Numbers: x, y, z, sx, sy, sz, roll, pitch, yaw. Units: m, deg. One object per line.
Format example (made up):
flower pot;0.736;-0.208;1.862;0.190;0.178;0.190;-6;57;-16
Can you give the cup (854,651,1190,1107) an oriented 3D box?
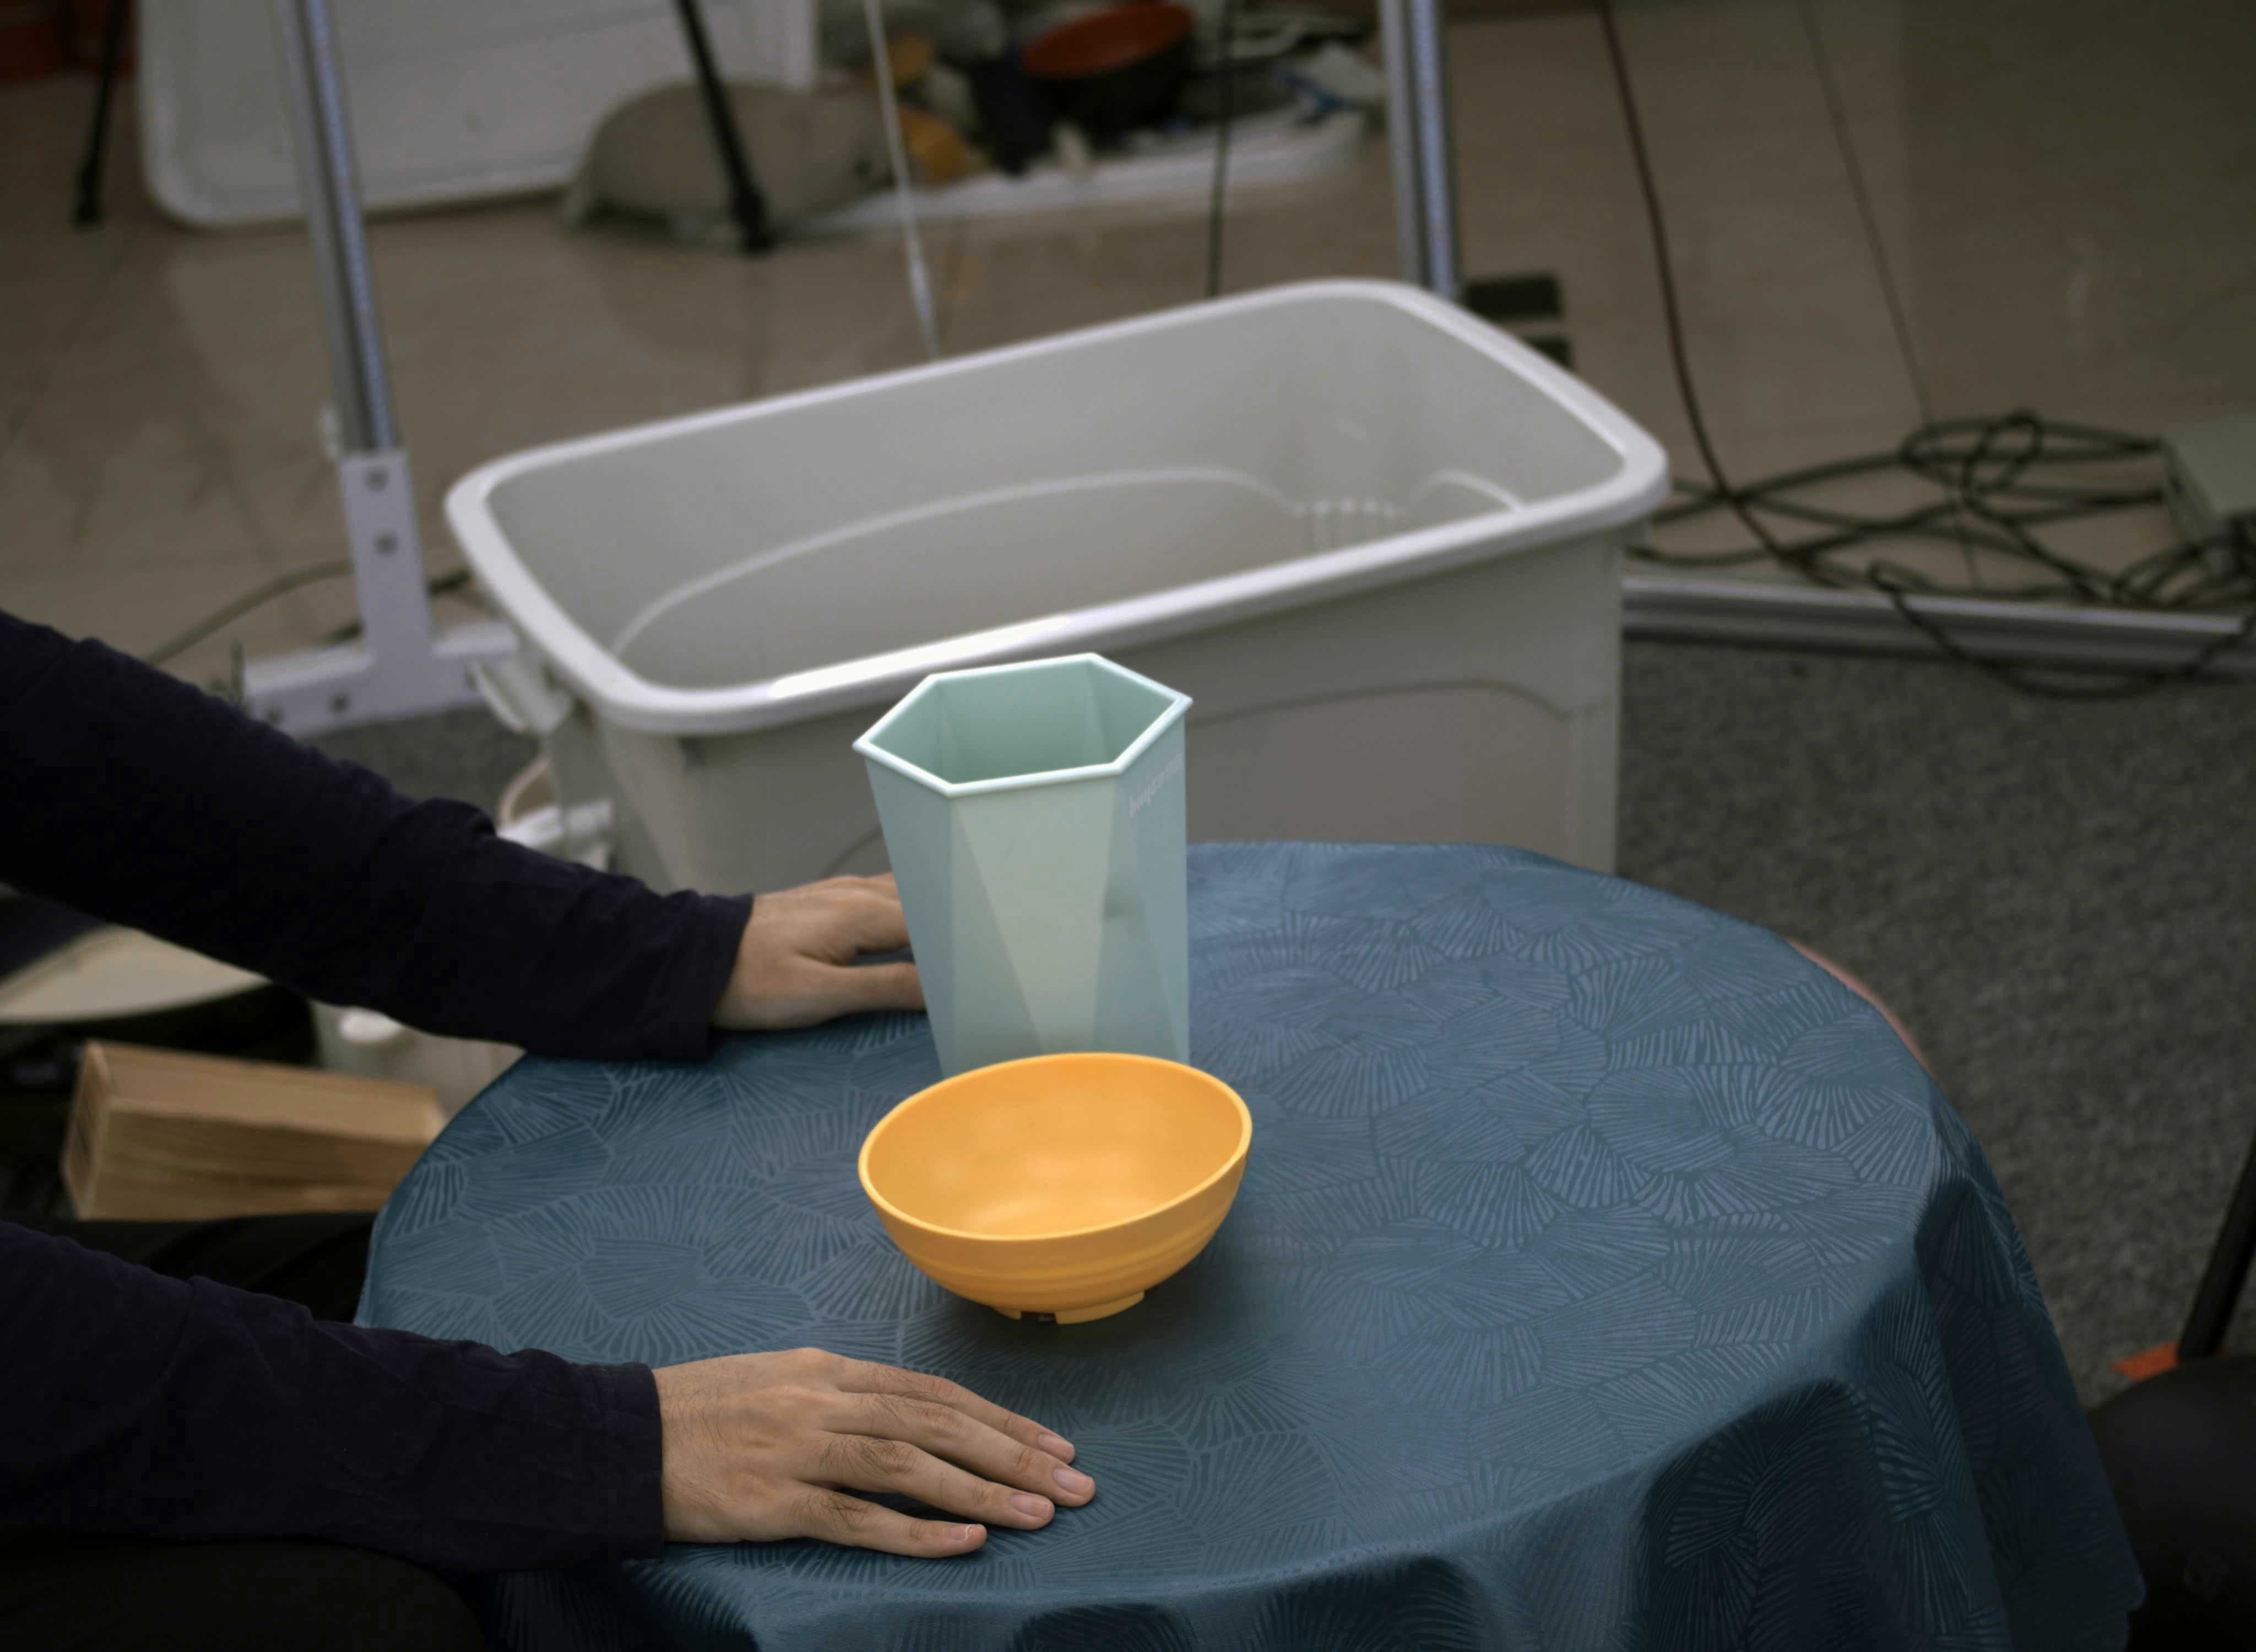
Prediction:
cup;-0.031;0.030;2.193;0.115;0.165;0.129;4;27;24

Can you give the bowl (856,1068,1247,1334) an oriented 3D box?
bowl;-0.024;0.145;2.077;0.145;0.061;0.143;-7;23;3
